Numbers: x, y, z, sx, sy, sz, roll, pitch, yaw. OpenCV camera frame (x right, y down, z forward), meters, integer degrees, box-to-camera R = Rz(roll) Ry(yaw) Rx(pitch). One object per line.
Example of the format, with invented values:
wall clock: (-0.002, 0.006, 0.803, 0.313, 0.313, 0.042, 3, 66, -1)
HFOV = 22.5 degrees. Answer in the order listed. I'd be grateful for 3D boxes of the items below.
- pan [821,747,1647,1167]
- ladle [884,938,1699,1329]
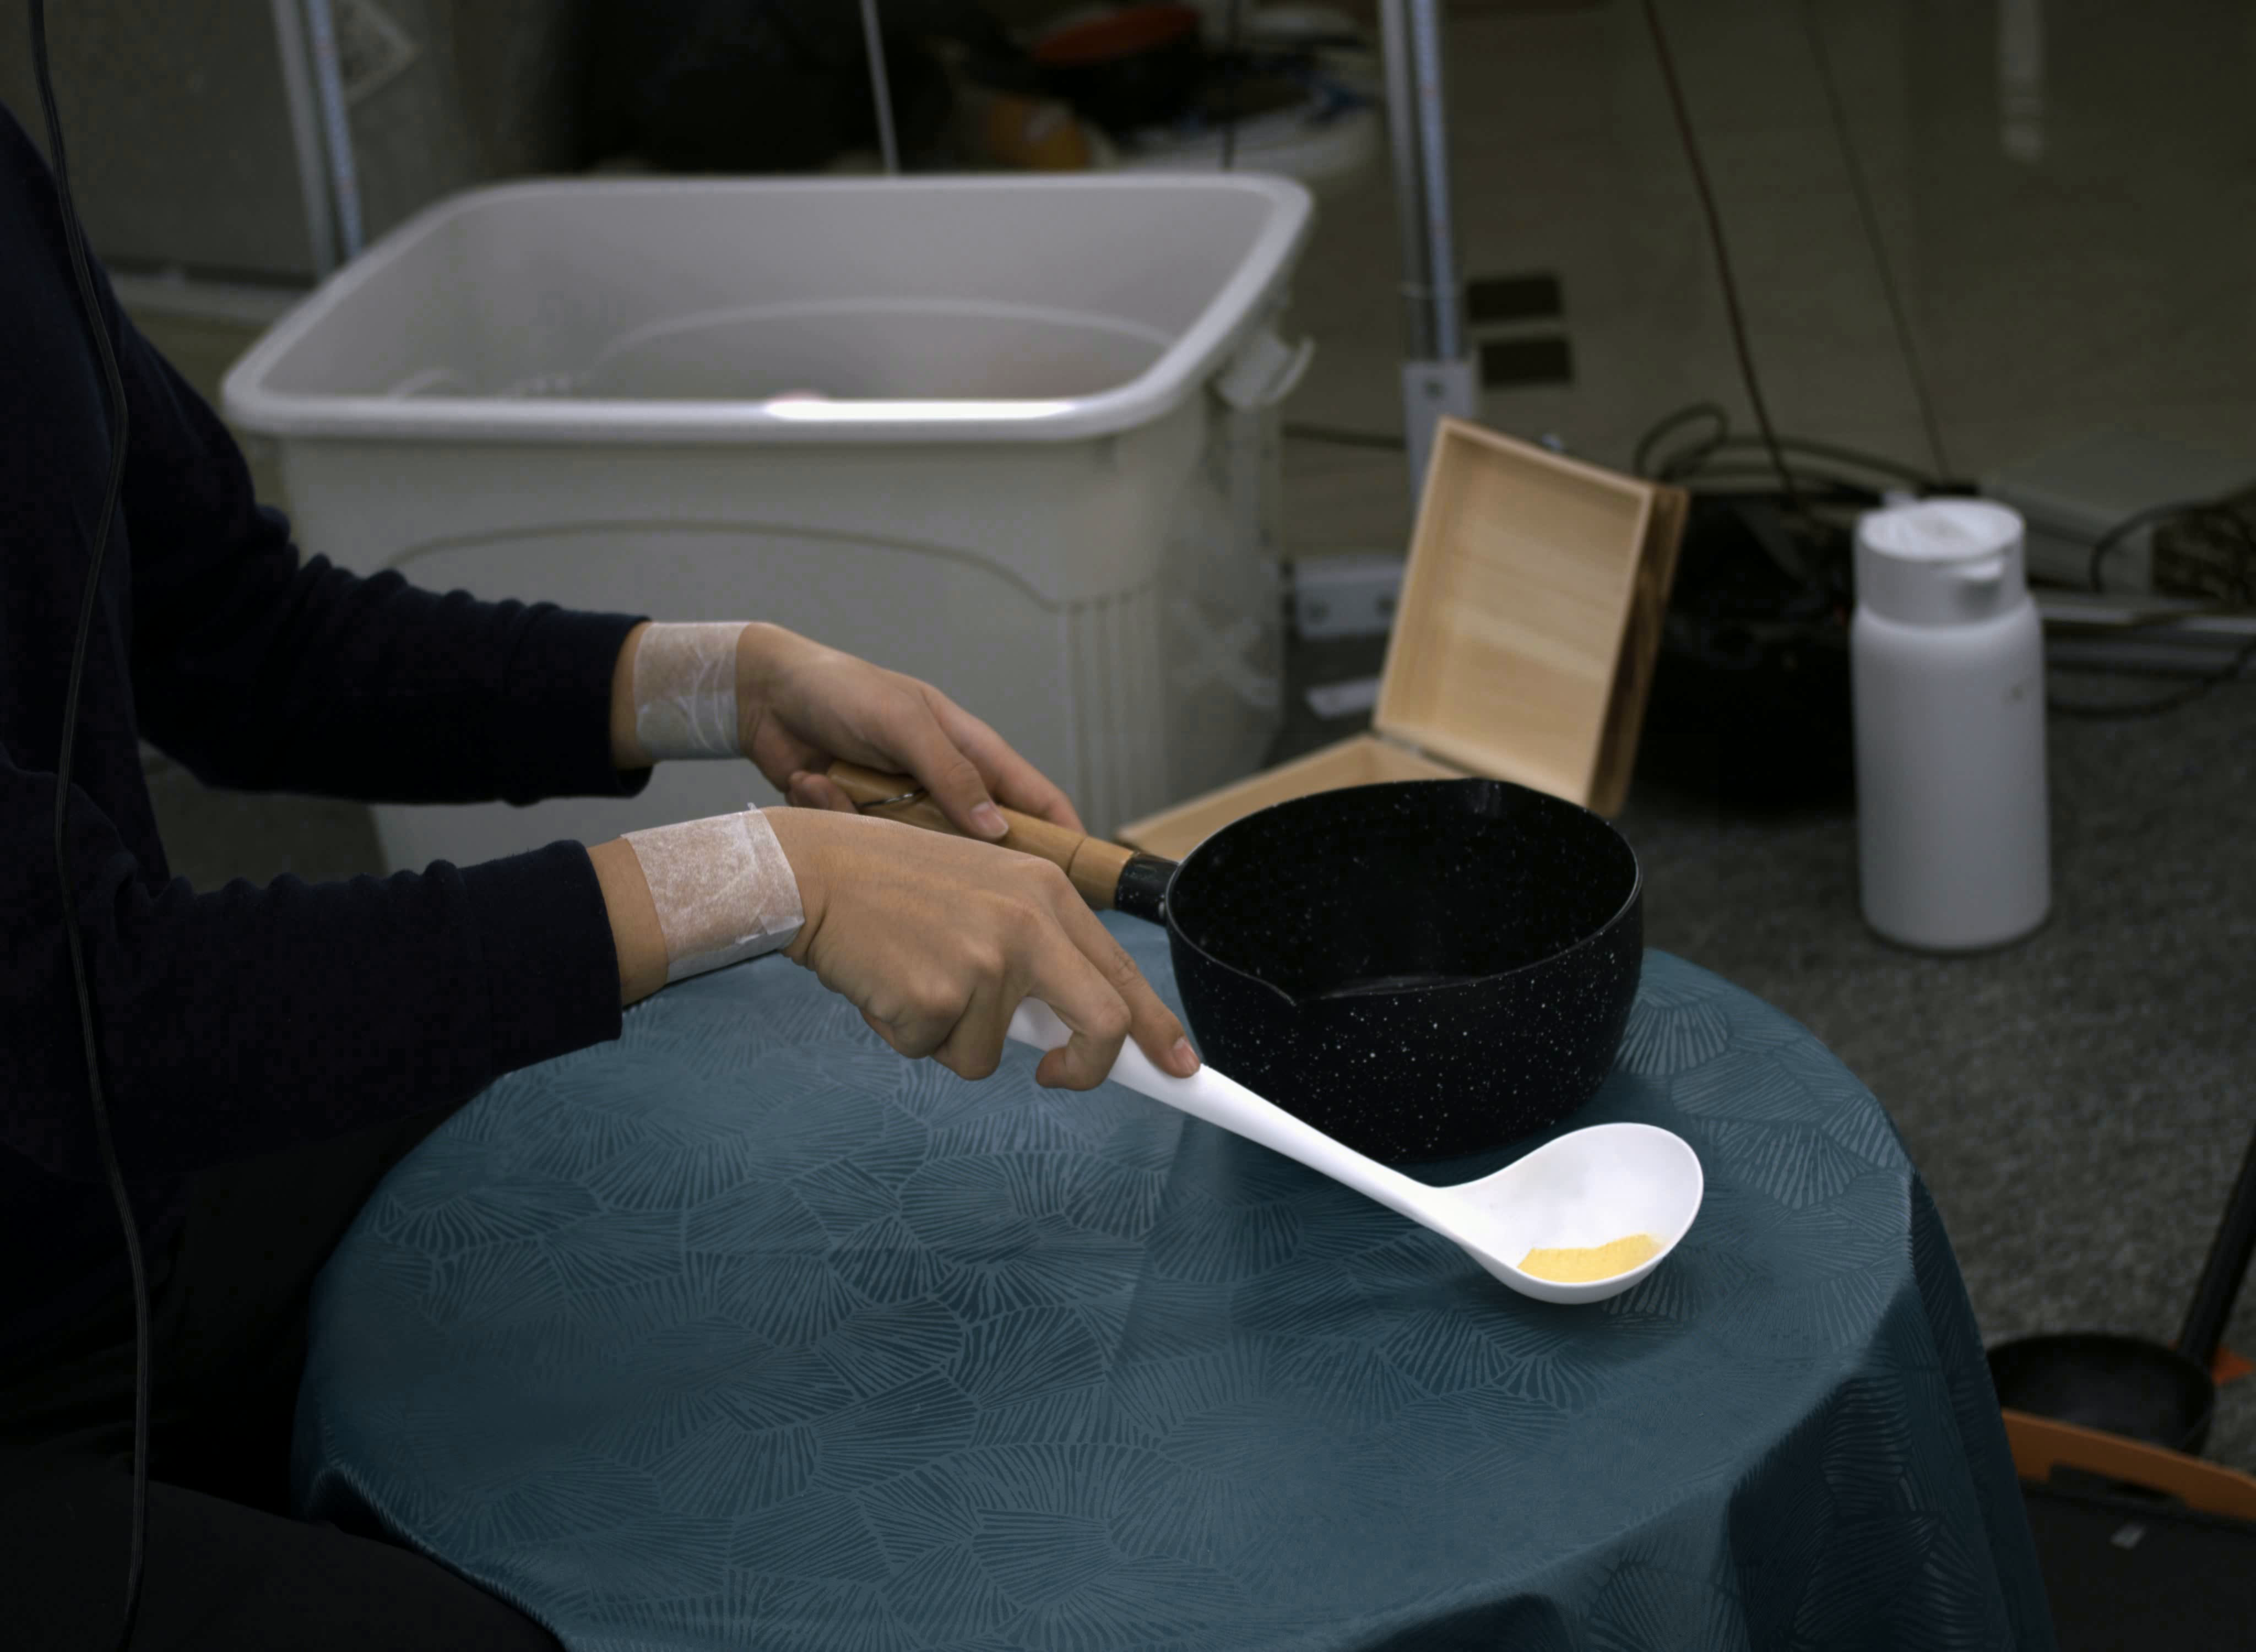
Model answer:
pan: (0.036, 0.040, 2.216, 0.341, 0.110, 0.204, 8, 30, 22)
ladle: (0.057, 0.101, 2.020, 0.293, 0.071, 0.088, 24, 47, -4)
